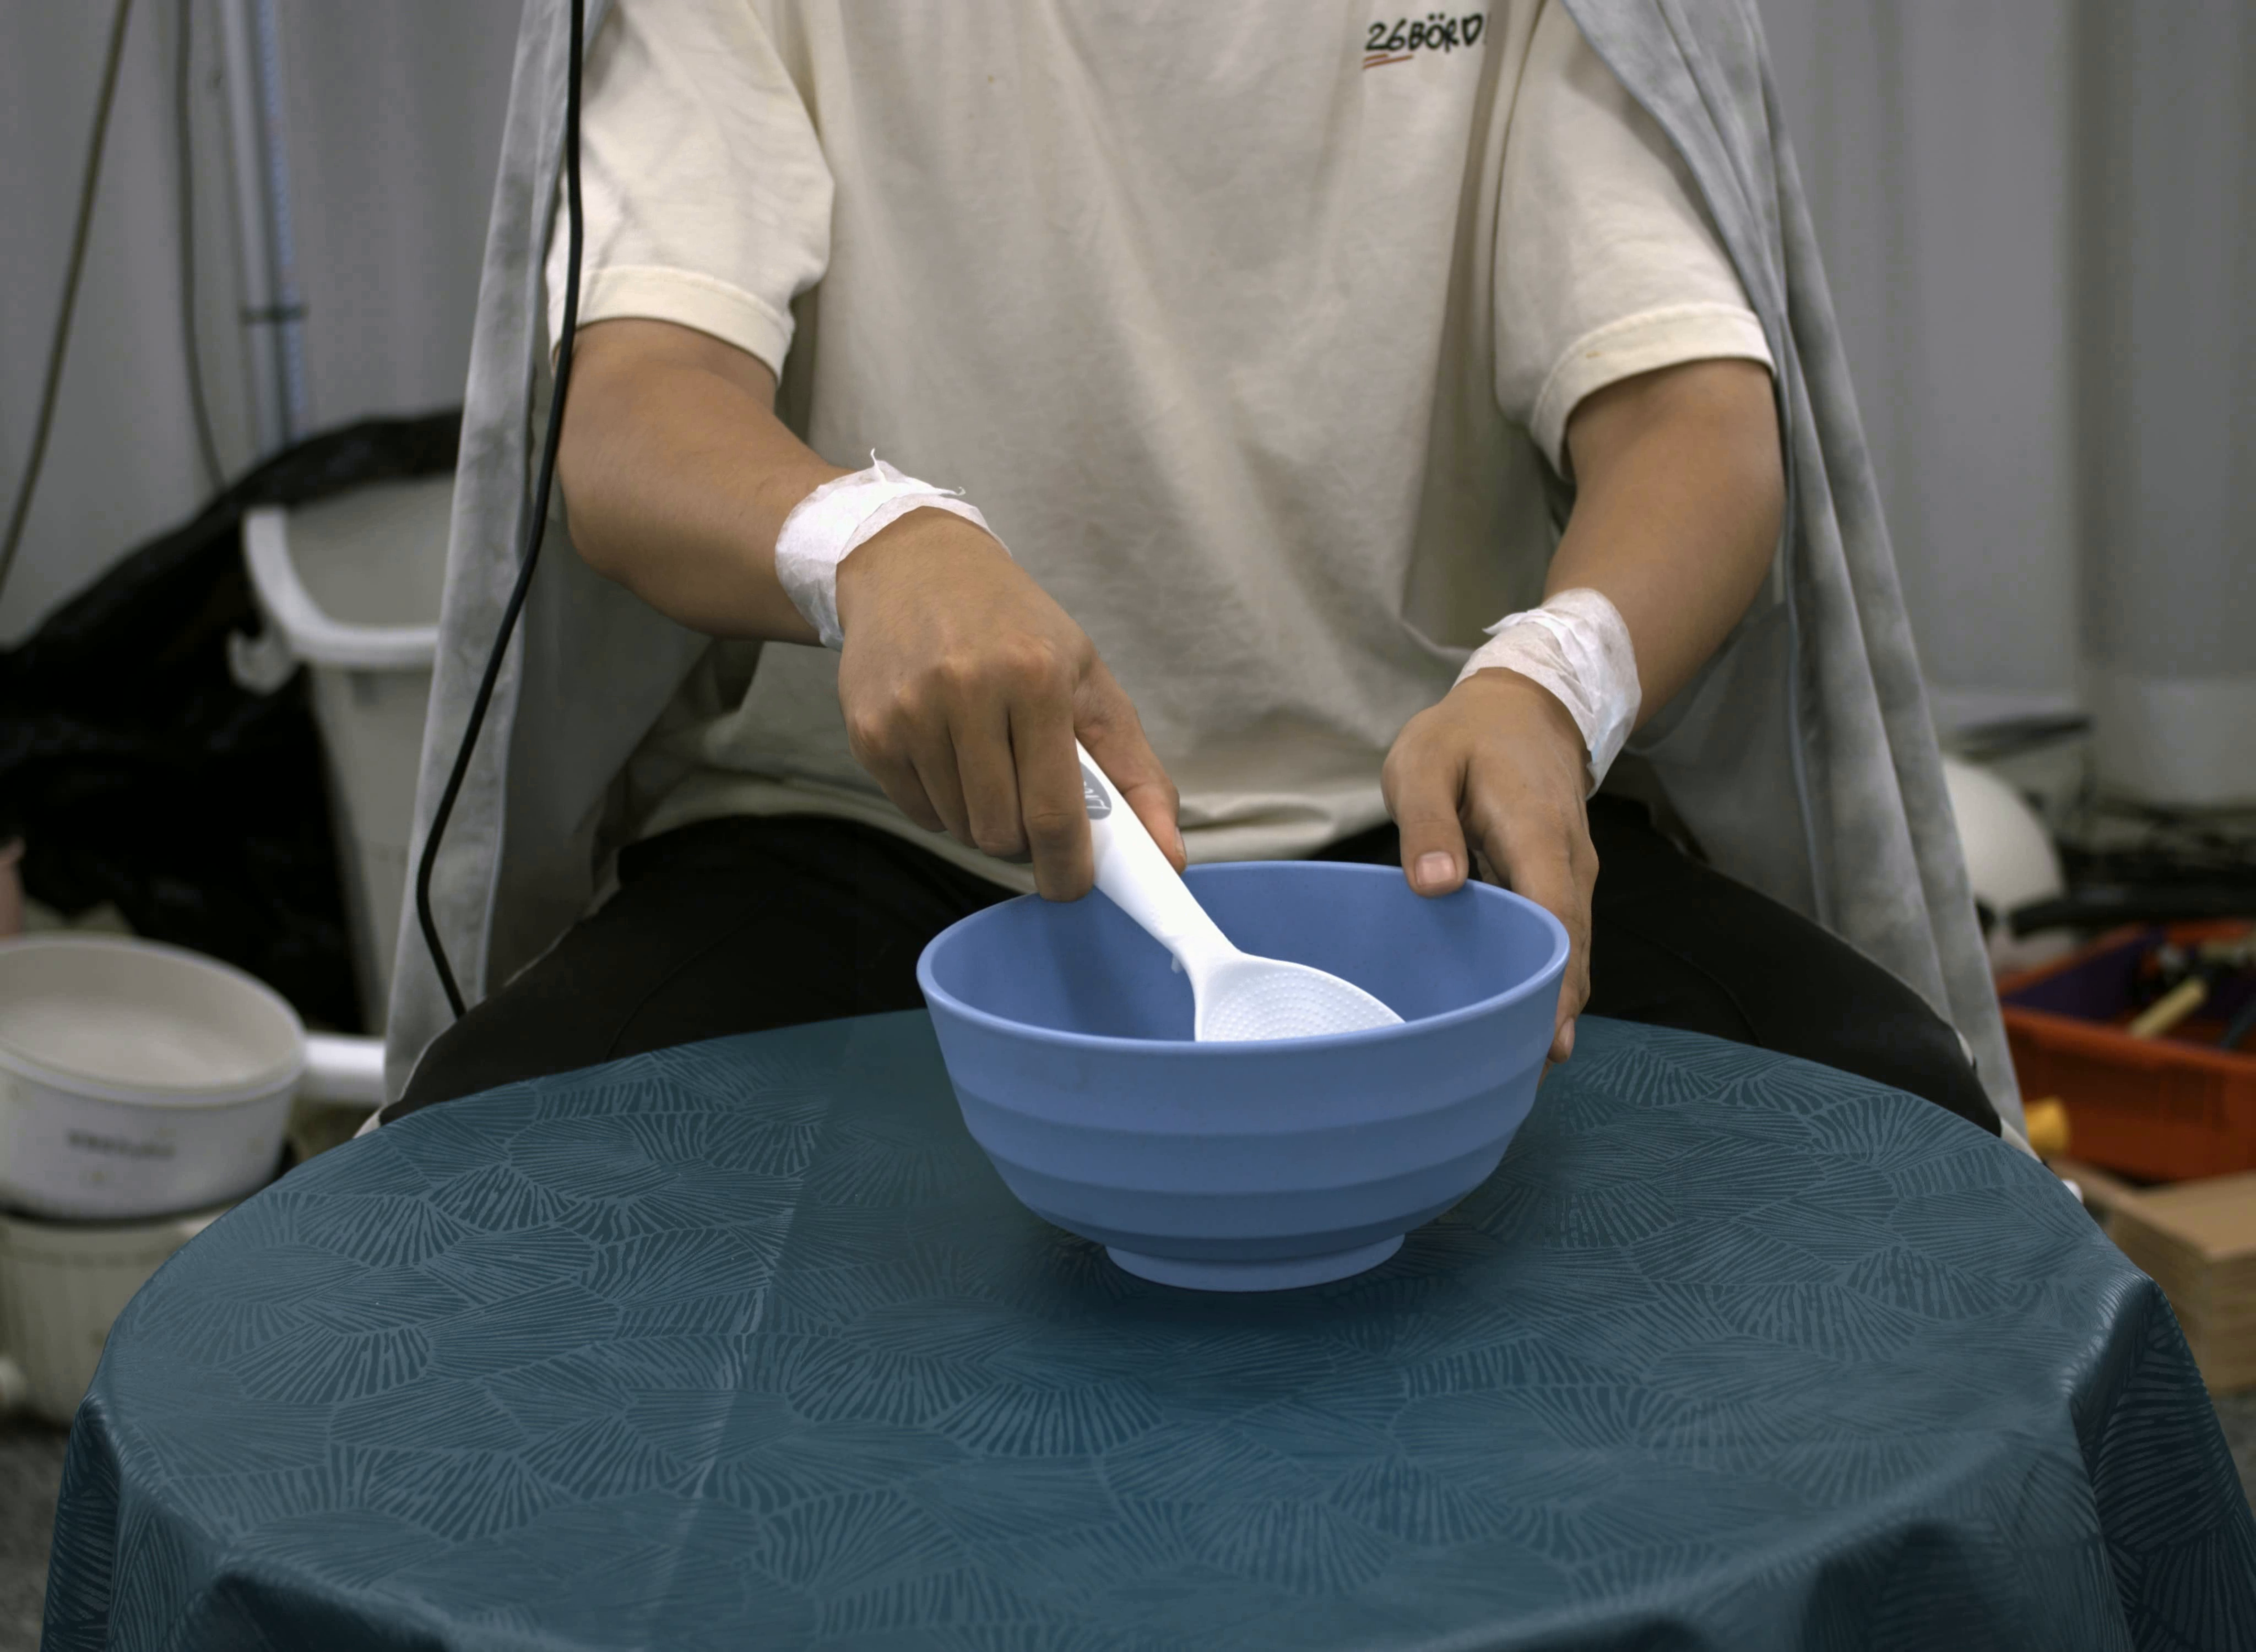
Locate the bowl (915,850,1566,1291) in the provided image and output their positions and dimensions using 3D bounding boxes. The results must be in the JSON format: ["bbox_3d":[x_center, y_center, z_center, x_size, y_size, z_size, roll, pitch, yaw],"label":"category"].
[{"bbox_3d":[0.036,0.080,1.654,0.196,0.095,0.198,-4,17,1],"label":"bowl"}]

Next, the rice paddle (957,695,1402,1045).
[{"bbox_3d":[0.025,0.039,1.688,0.069,0.029,0.207,-35,69,-24],"label":"rice paddle"}]
